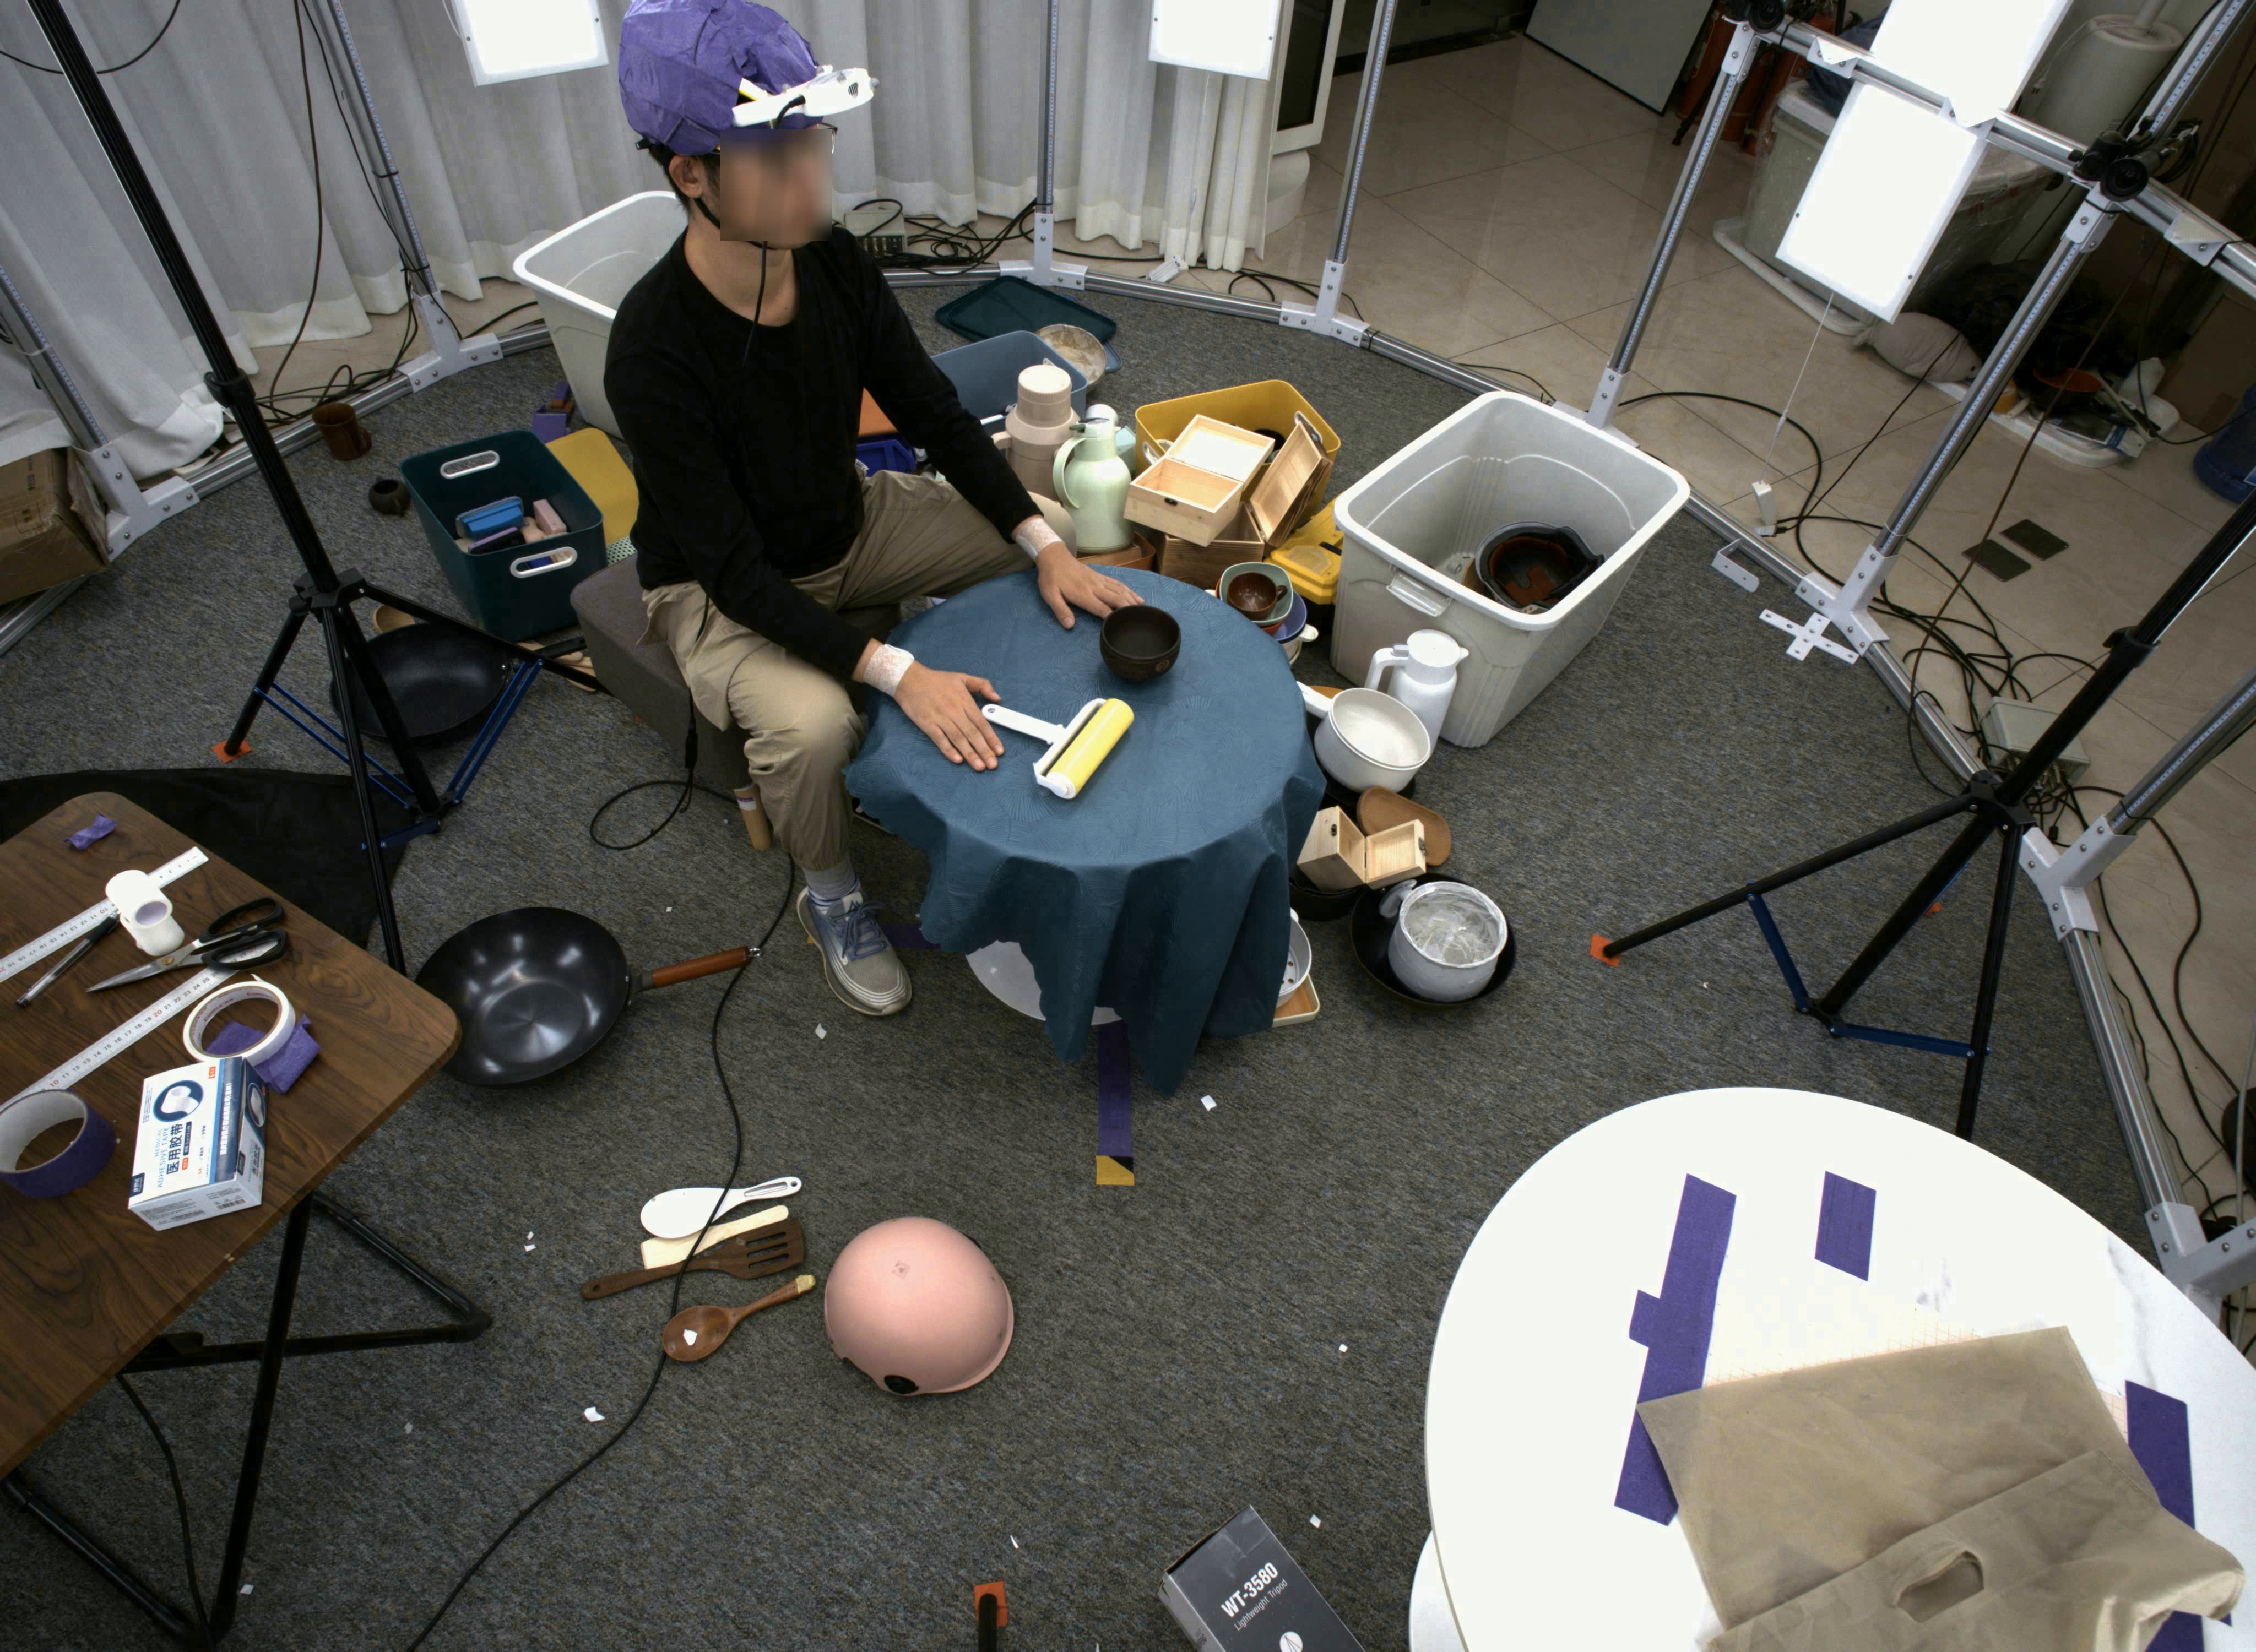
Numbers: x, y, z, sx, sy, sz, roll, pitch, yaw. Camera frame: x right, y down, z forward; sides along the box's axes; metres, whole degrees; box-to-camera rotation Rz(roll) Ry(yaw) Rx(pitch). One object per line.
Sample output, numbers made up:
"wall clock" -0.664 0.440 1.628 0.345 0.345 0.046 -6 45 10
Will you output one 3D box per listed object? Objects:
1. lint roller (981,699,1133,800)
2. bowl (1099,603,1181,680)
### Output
"lint roller" -0.114 -0.134 1.744 0.193 0.050 0.177 26 52 11
"bowl" 0.016 -0.257 1.845 0.118 0.068 0.121 3 49 -3
